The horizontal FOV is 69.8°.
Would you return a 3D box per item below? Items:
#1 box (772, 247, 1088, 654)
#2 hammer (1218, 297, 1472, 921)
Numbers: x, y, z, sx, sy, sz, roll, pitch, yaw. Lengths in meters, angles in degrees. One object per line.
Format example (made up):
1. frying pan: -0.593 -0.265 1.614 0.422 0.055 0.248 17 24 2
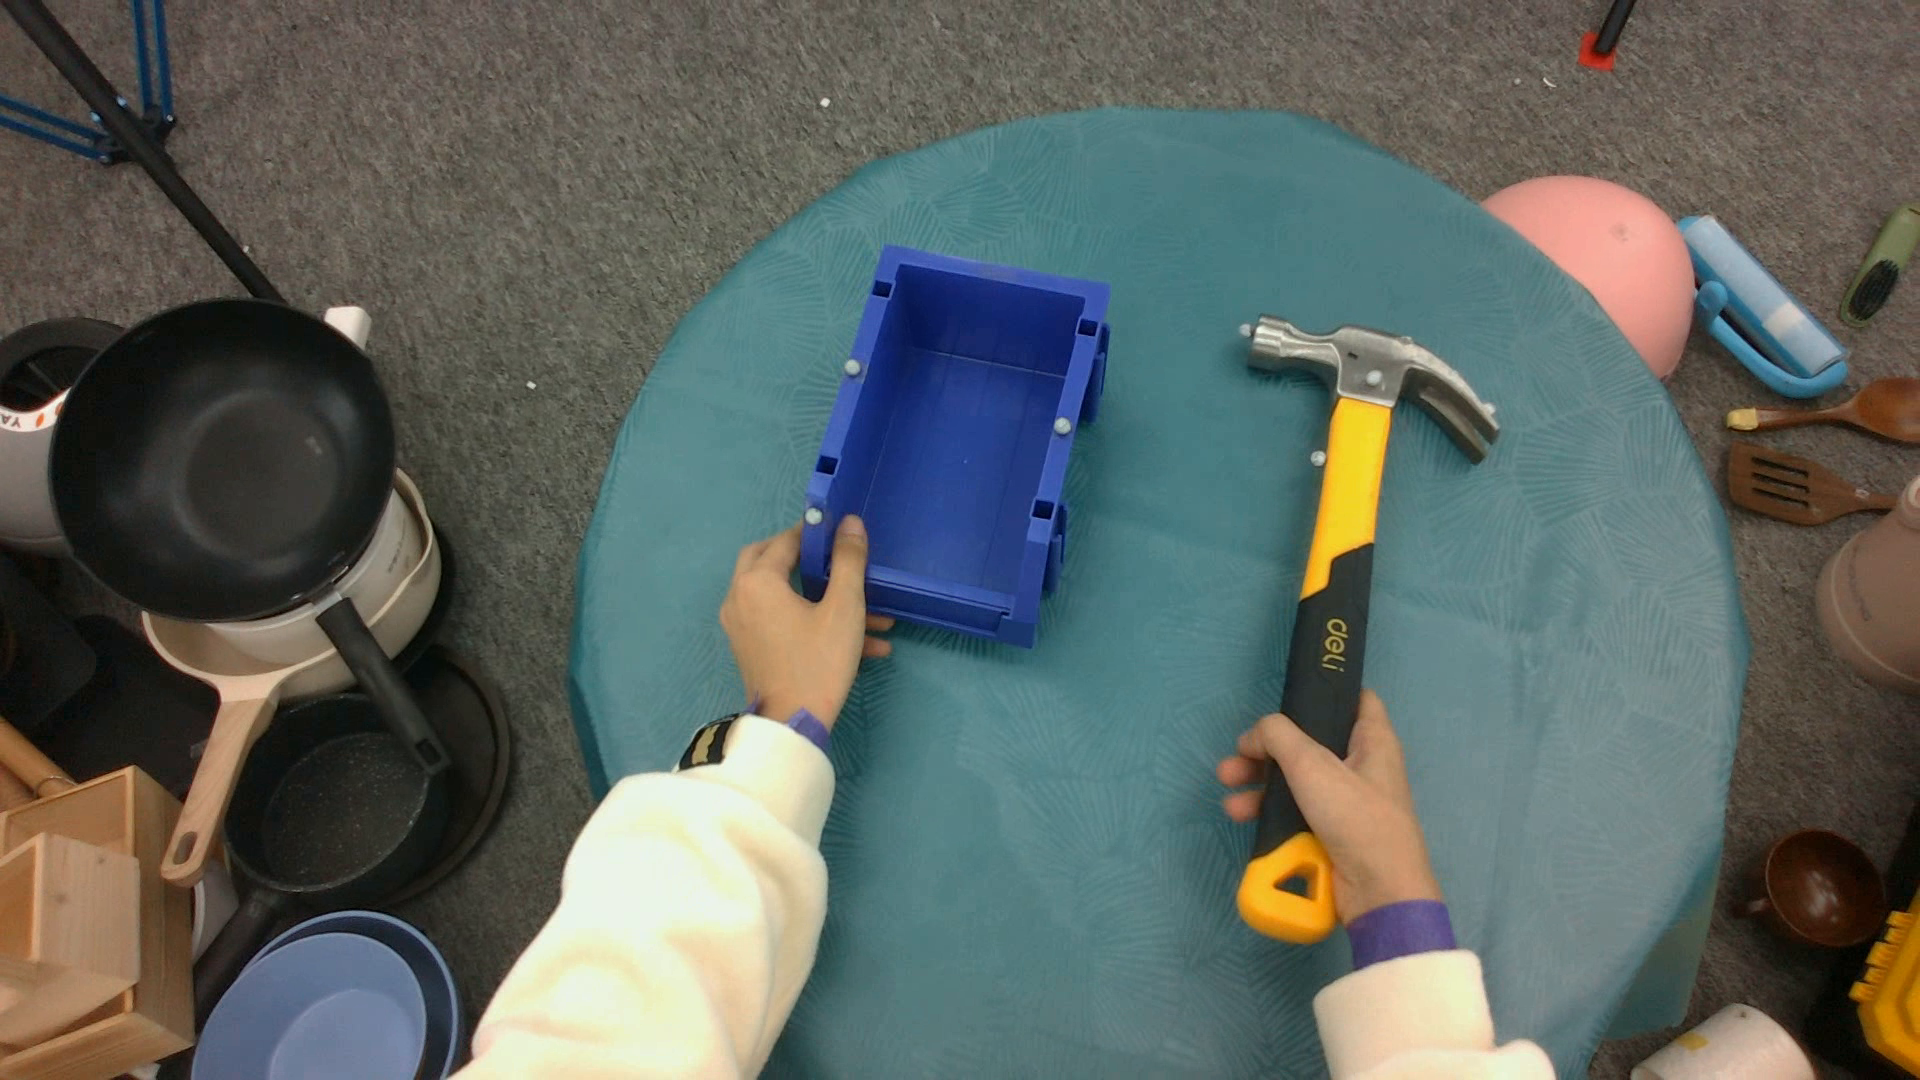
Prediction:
1. box: -0.012 -0.044 0.701 0.124 0.081 0.180 13 64 6
2. hammer: 0.172 0.020 0.672 0.131 0.032 0.340 15 58 5
